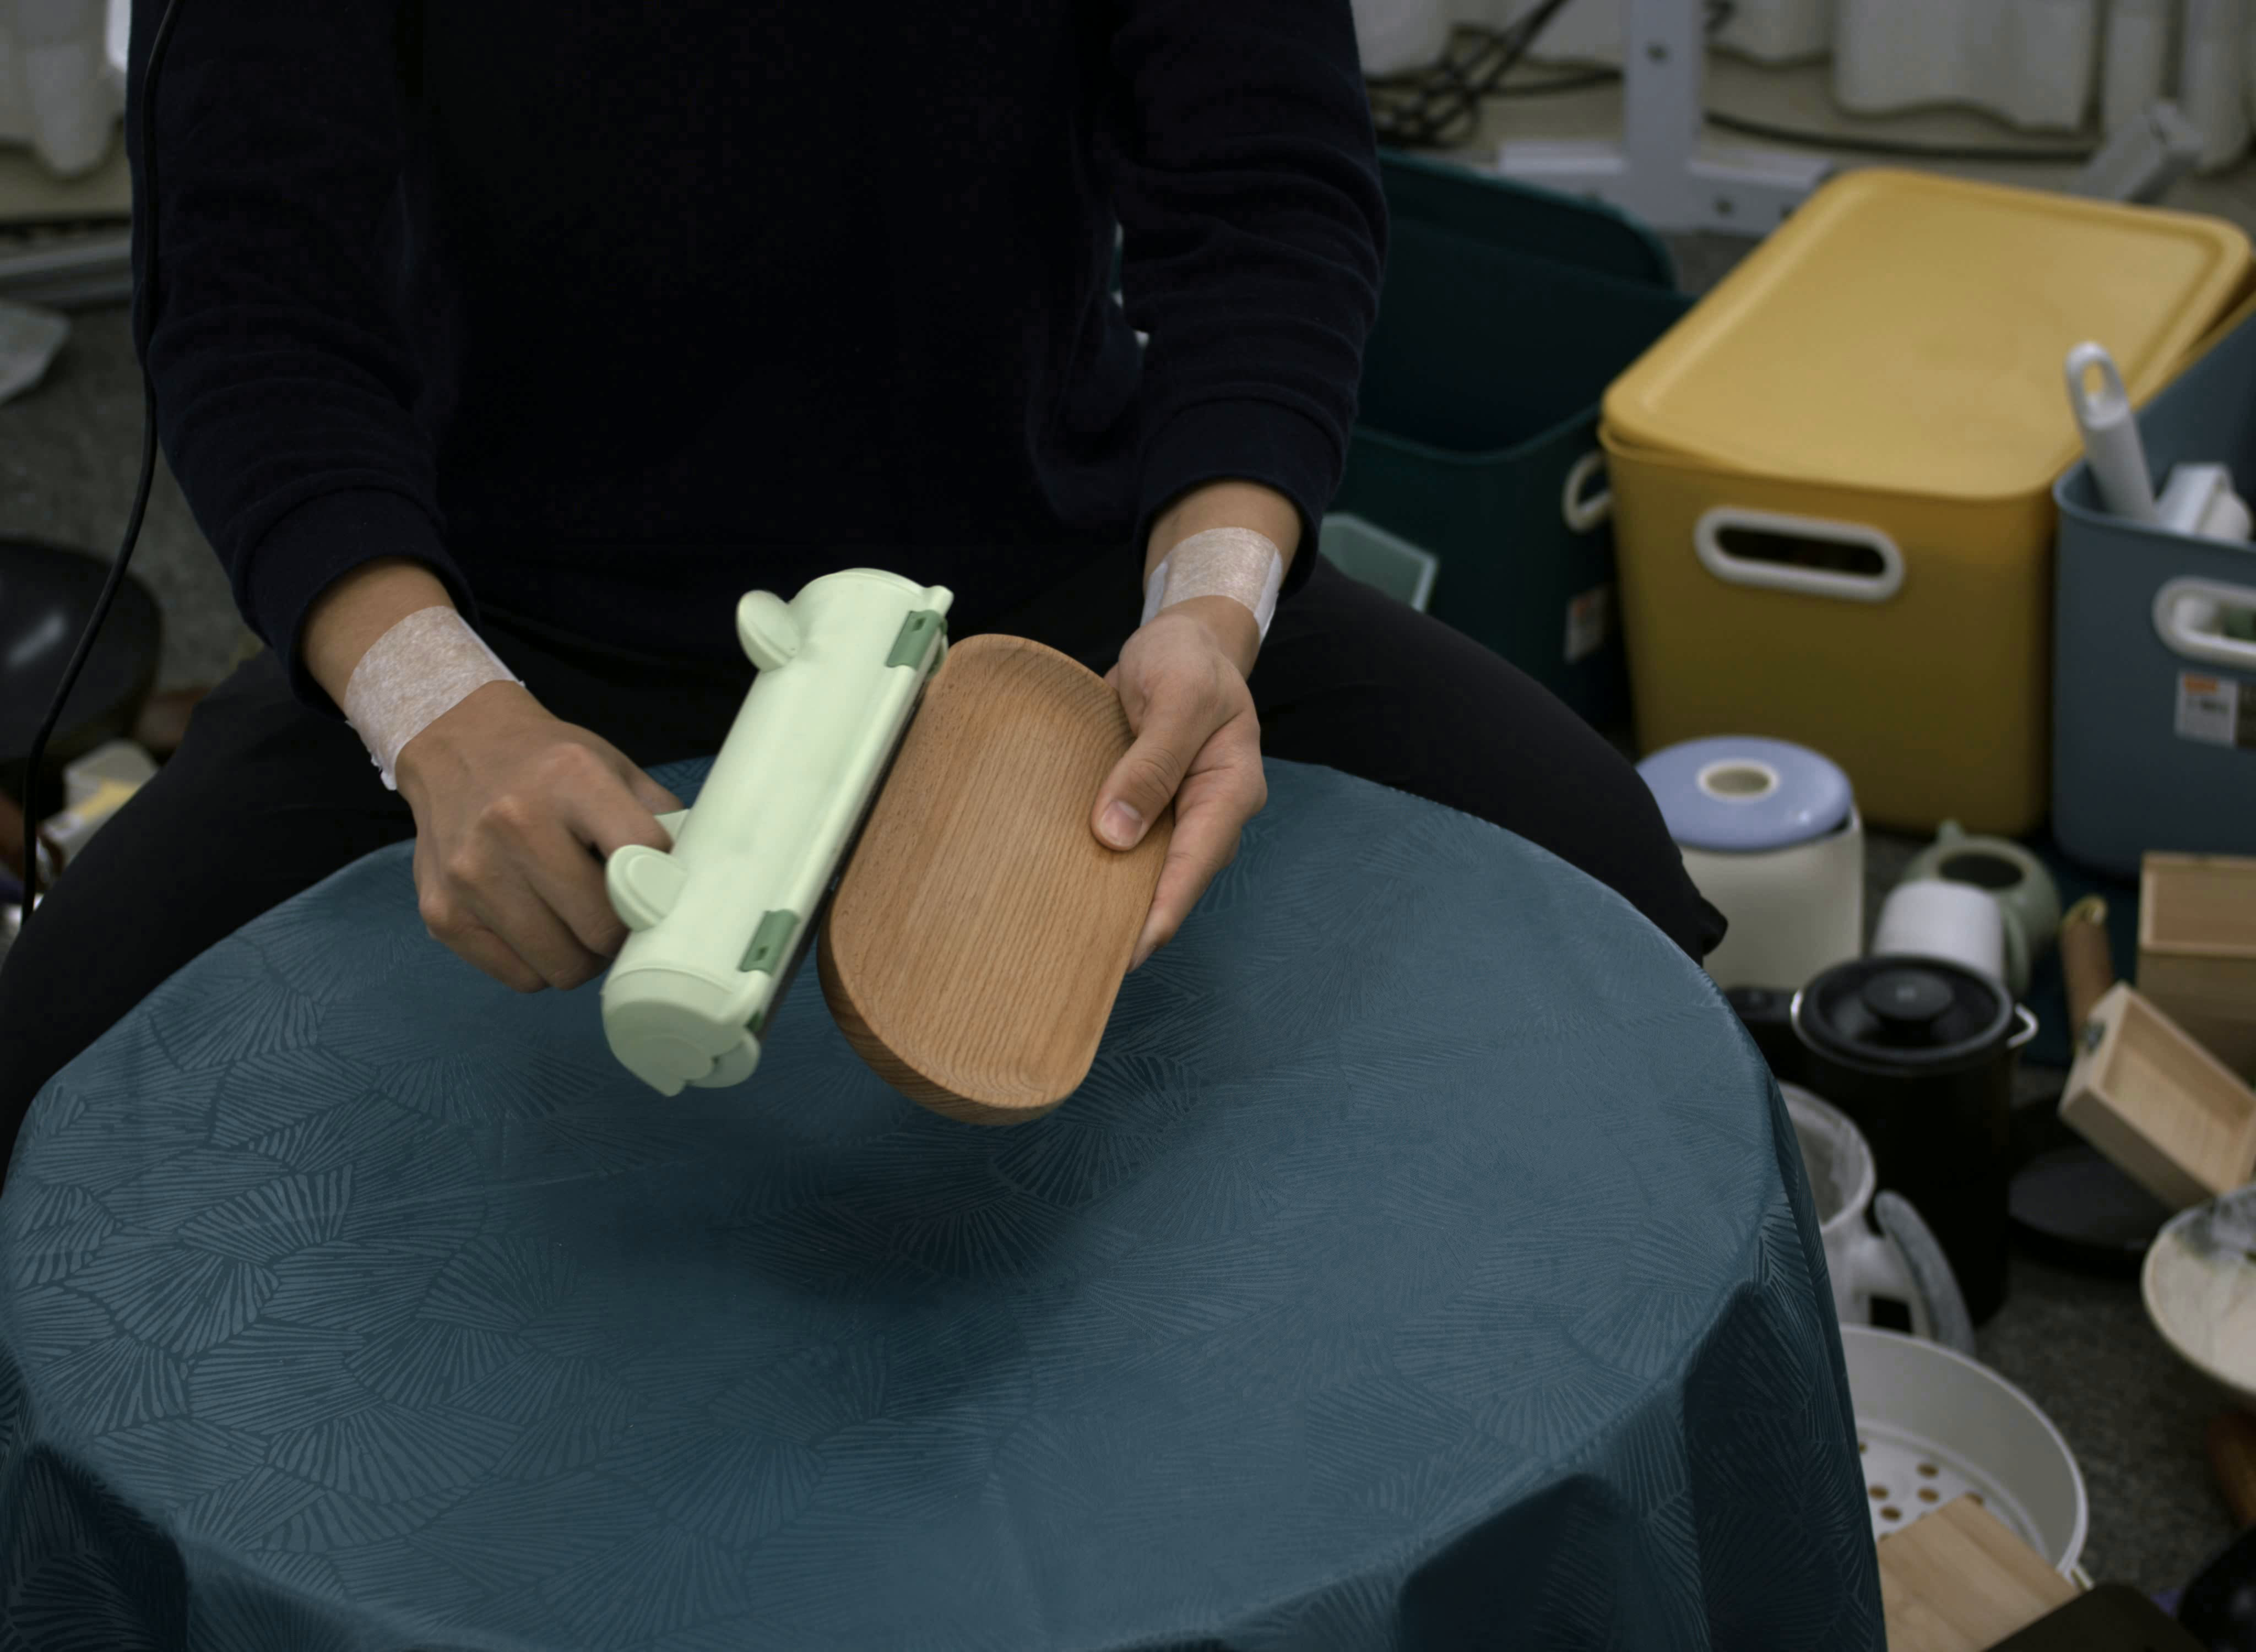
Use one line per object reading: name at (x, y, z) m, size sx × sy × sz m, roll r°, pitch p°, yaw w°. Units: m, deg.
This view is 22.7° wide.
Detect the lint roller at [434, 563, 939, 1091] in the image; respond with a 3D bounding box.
lint roller at (-0.166, -0.002, 1.830) m, size 0.181 × 0.081 × 0.203 m, roll -6°, pitch 42°, yaw 30°

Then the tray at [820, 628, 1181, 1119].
tray at (-0.041, 0.014, 1.858) m, size 0.101 × 0.020 × 0.235 m, roll 34°, pitch 34°, yaw -11°
